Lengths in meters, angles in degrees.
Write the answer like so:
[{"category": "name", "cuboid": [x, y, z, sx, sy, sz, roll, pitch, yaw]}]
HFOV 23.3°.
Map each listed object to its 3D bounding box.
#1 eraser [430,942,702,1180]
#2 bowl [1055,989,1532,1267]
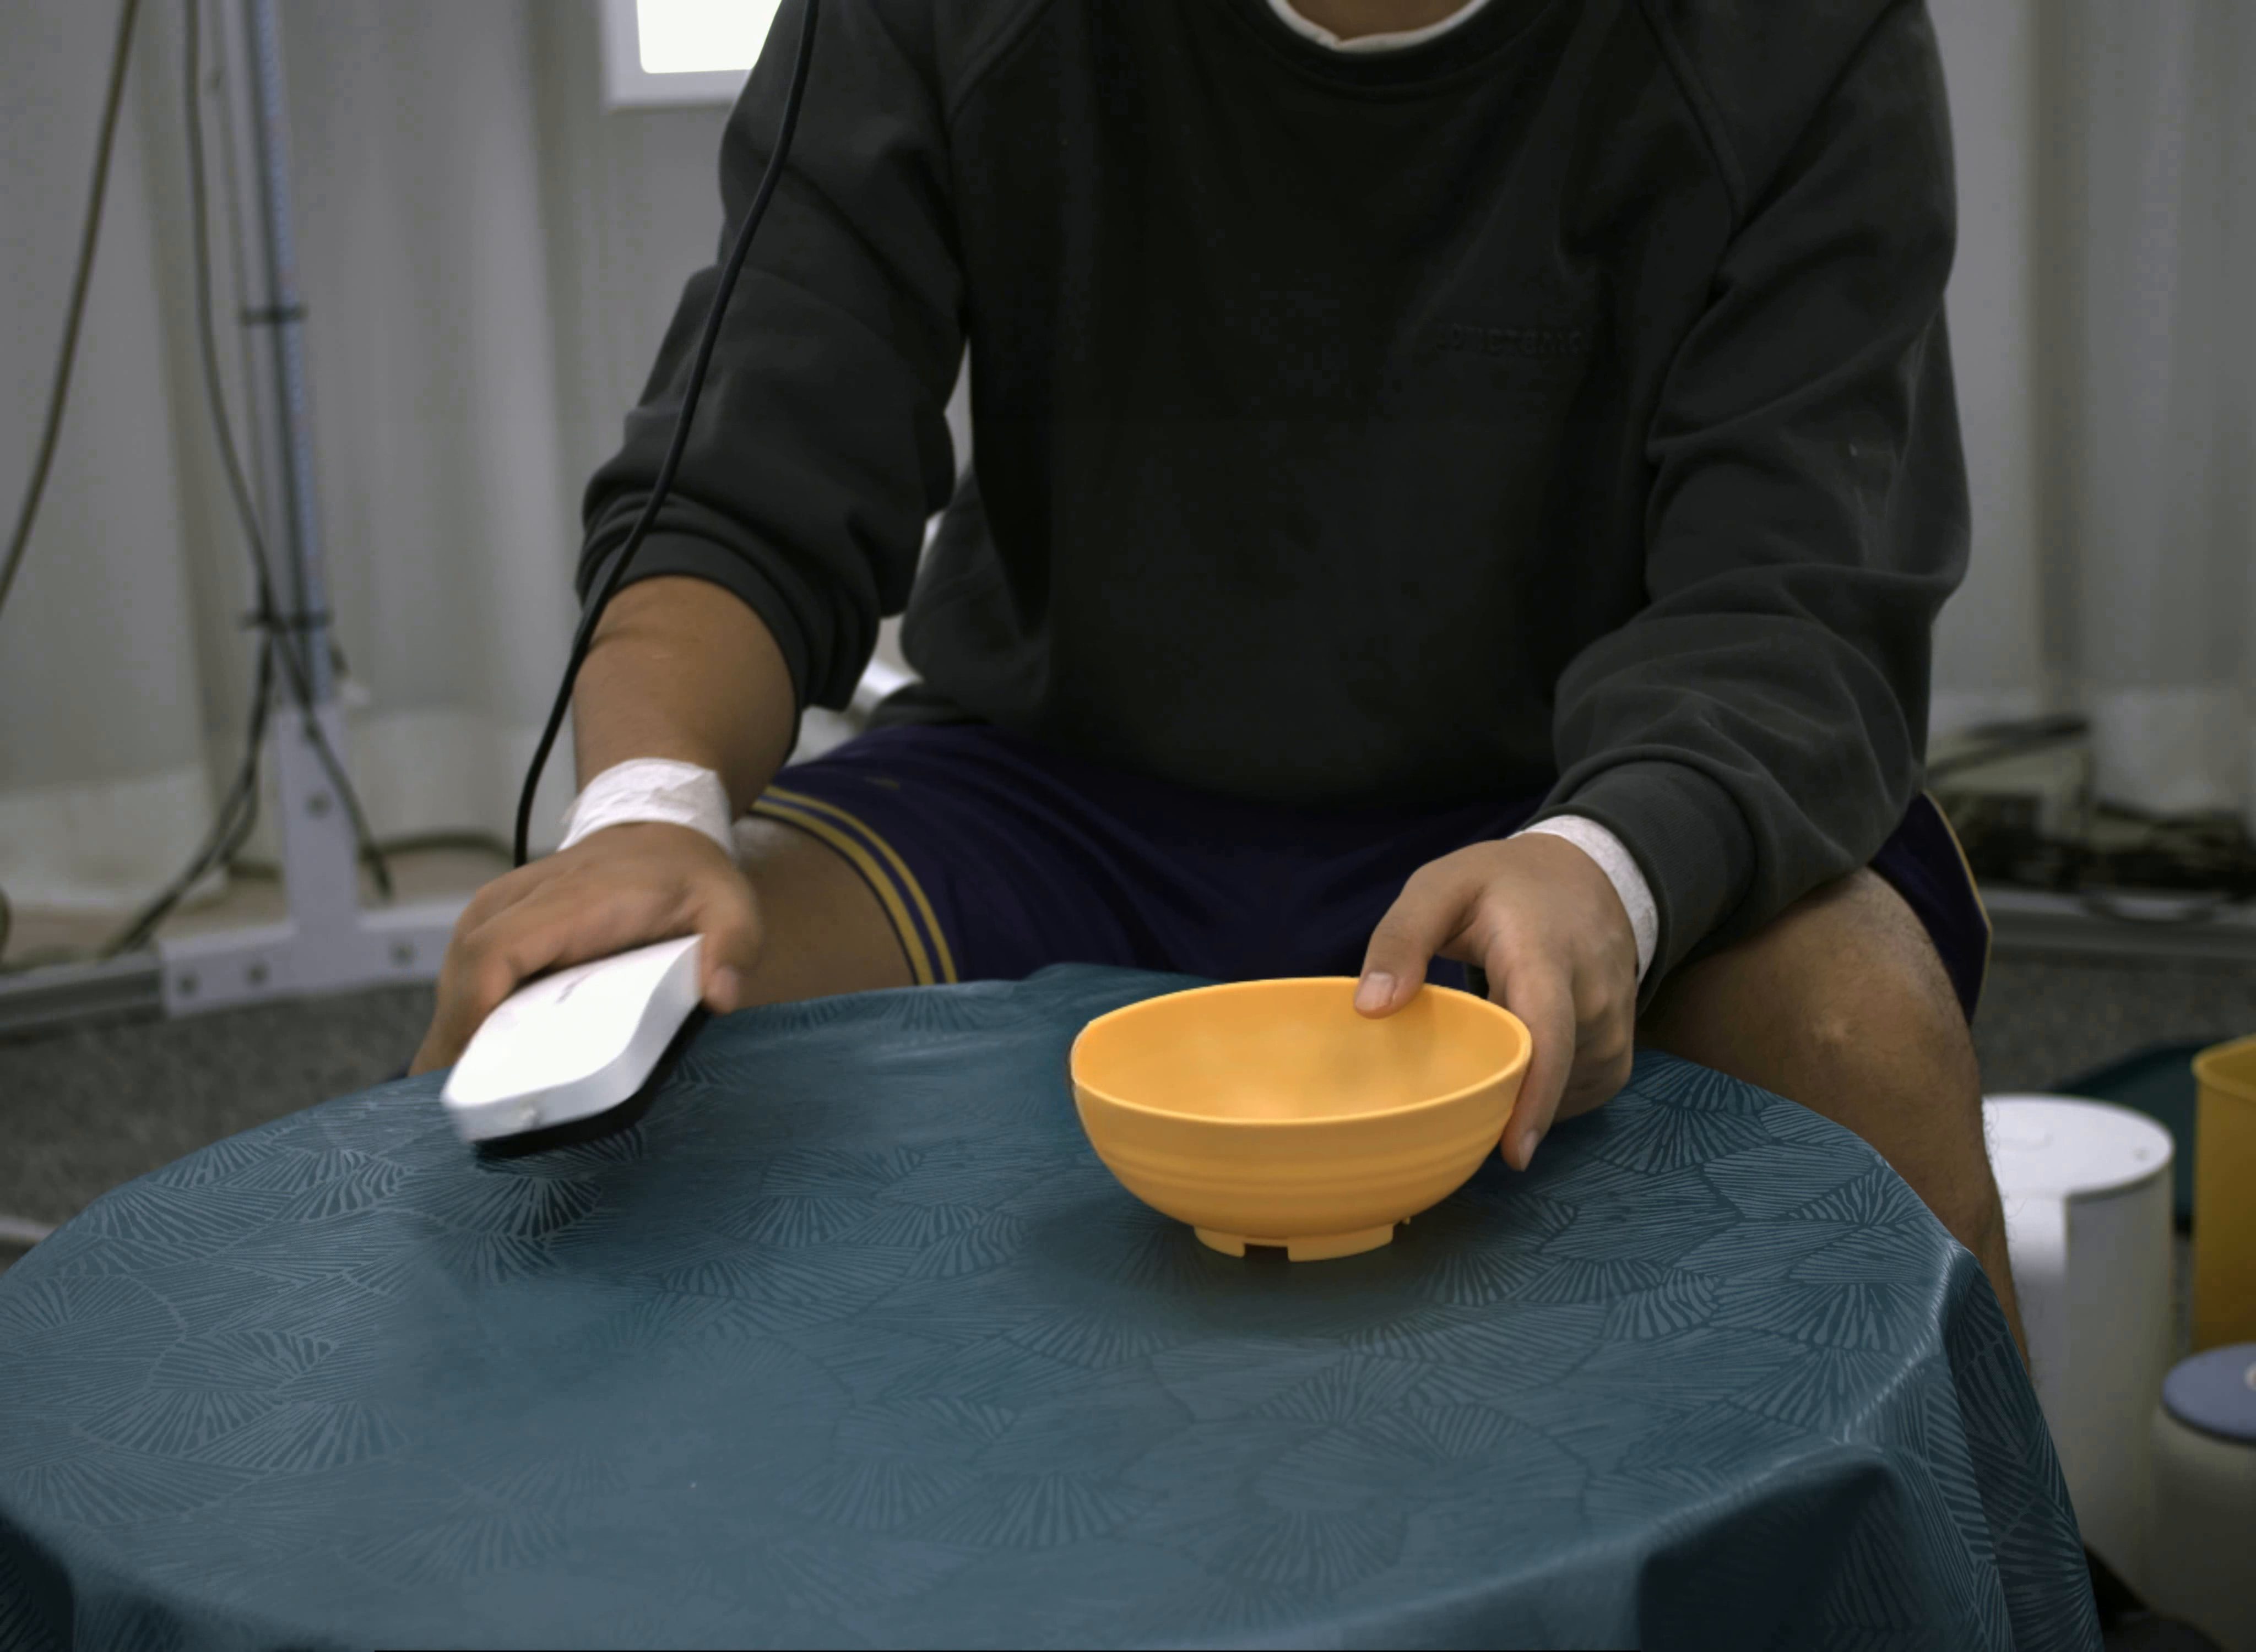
[{"category": "eraser", "cuboid": [-0.175, 0.070, 1.735, 0.063, 0.034, 0.132, -13, 17, 15]}, {"category": "bowl", "cuboid": [0.051, 0.097, 1.668, 0.145, 0.060, 0.146, -1, 13, 0]}]
